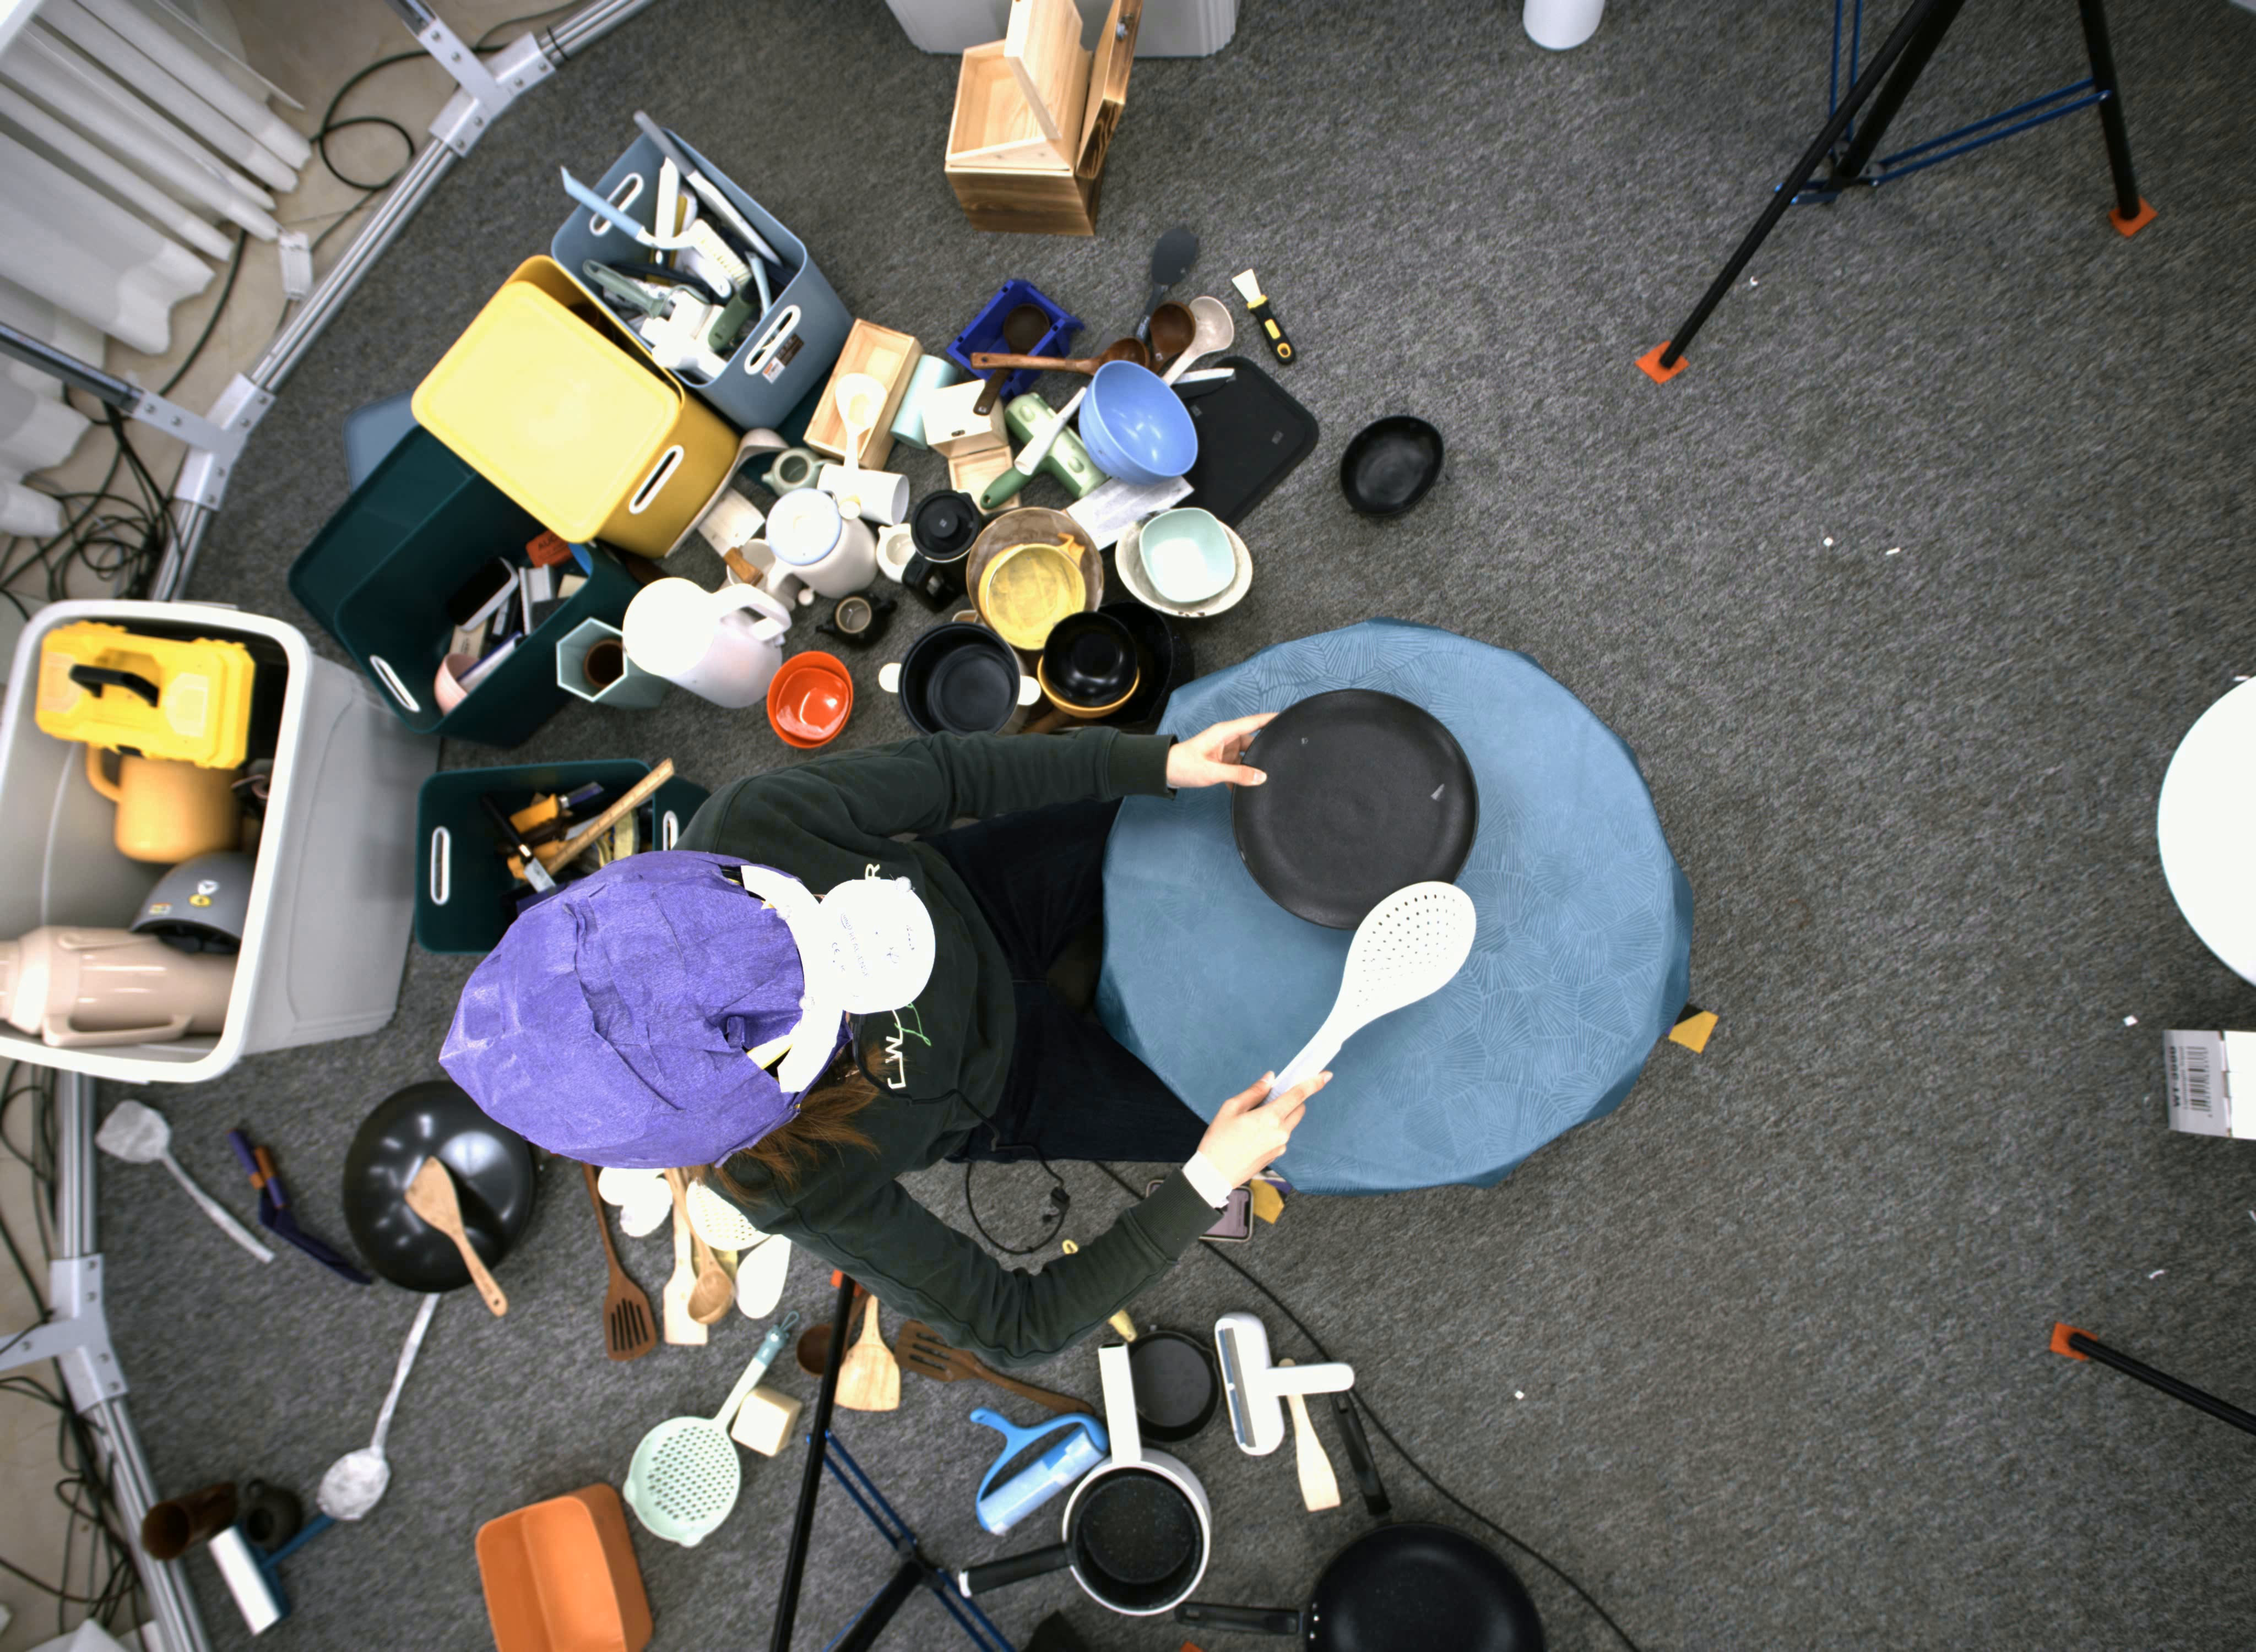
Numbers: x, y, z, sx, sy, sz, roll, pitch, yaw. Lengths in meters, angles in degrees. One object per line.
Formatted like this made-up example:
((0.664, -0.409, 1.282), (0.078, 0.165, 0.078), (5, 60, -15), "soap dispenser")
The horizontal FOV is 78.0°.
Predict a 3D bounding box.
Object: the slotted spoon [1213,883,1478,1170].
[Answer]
((0.206, 0.193, 1.329), (0.349, 0.134, 0.046), (-44, 121, -3), "slotted spoon")

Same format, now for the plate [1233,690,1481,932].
((0.227, -0.015, 1.374), (0.245, 0.023, 0.247), (2, 104, 10), "plate")
